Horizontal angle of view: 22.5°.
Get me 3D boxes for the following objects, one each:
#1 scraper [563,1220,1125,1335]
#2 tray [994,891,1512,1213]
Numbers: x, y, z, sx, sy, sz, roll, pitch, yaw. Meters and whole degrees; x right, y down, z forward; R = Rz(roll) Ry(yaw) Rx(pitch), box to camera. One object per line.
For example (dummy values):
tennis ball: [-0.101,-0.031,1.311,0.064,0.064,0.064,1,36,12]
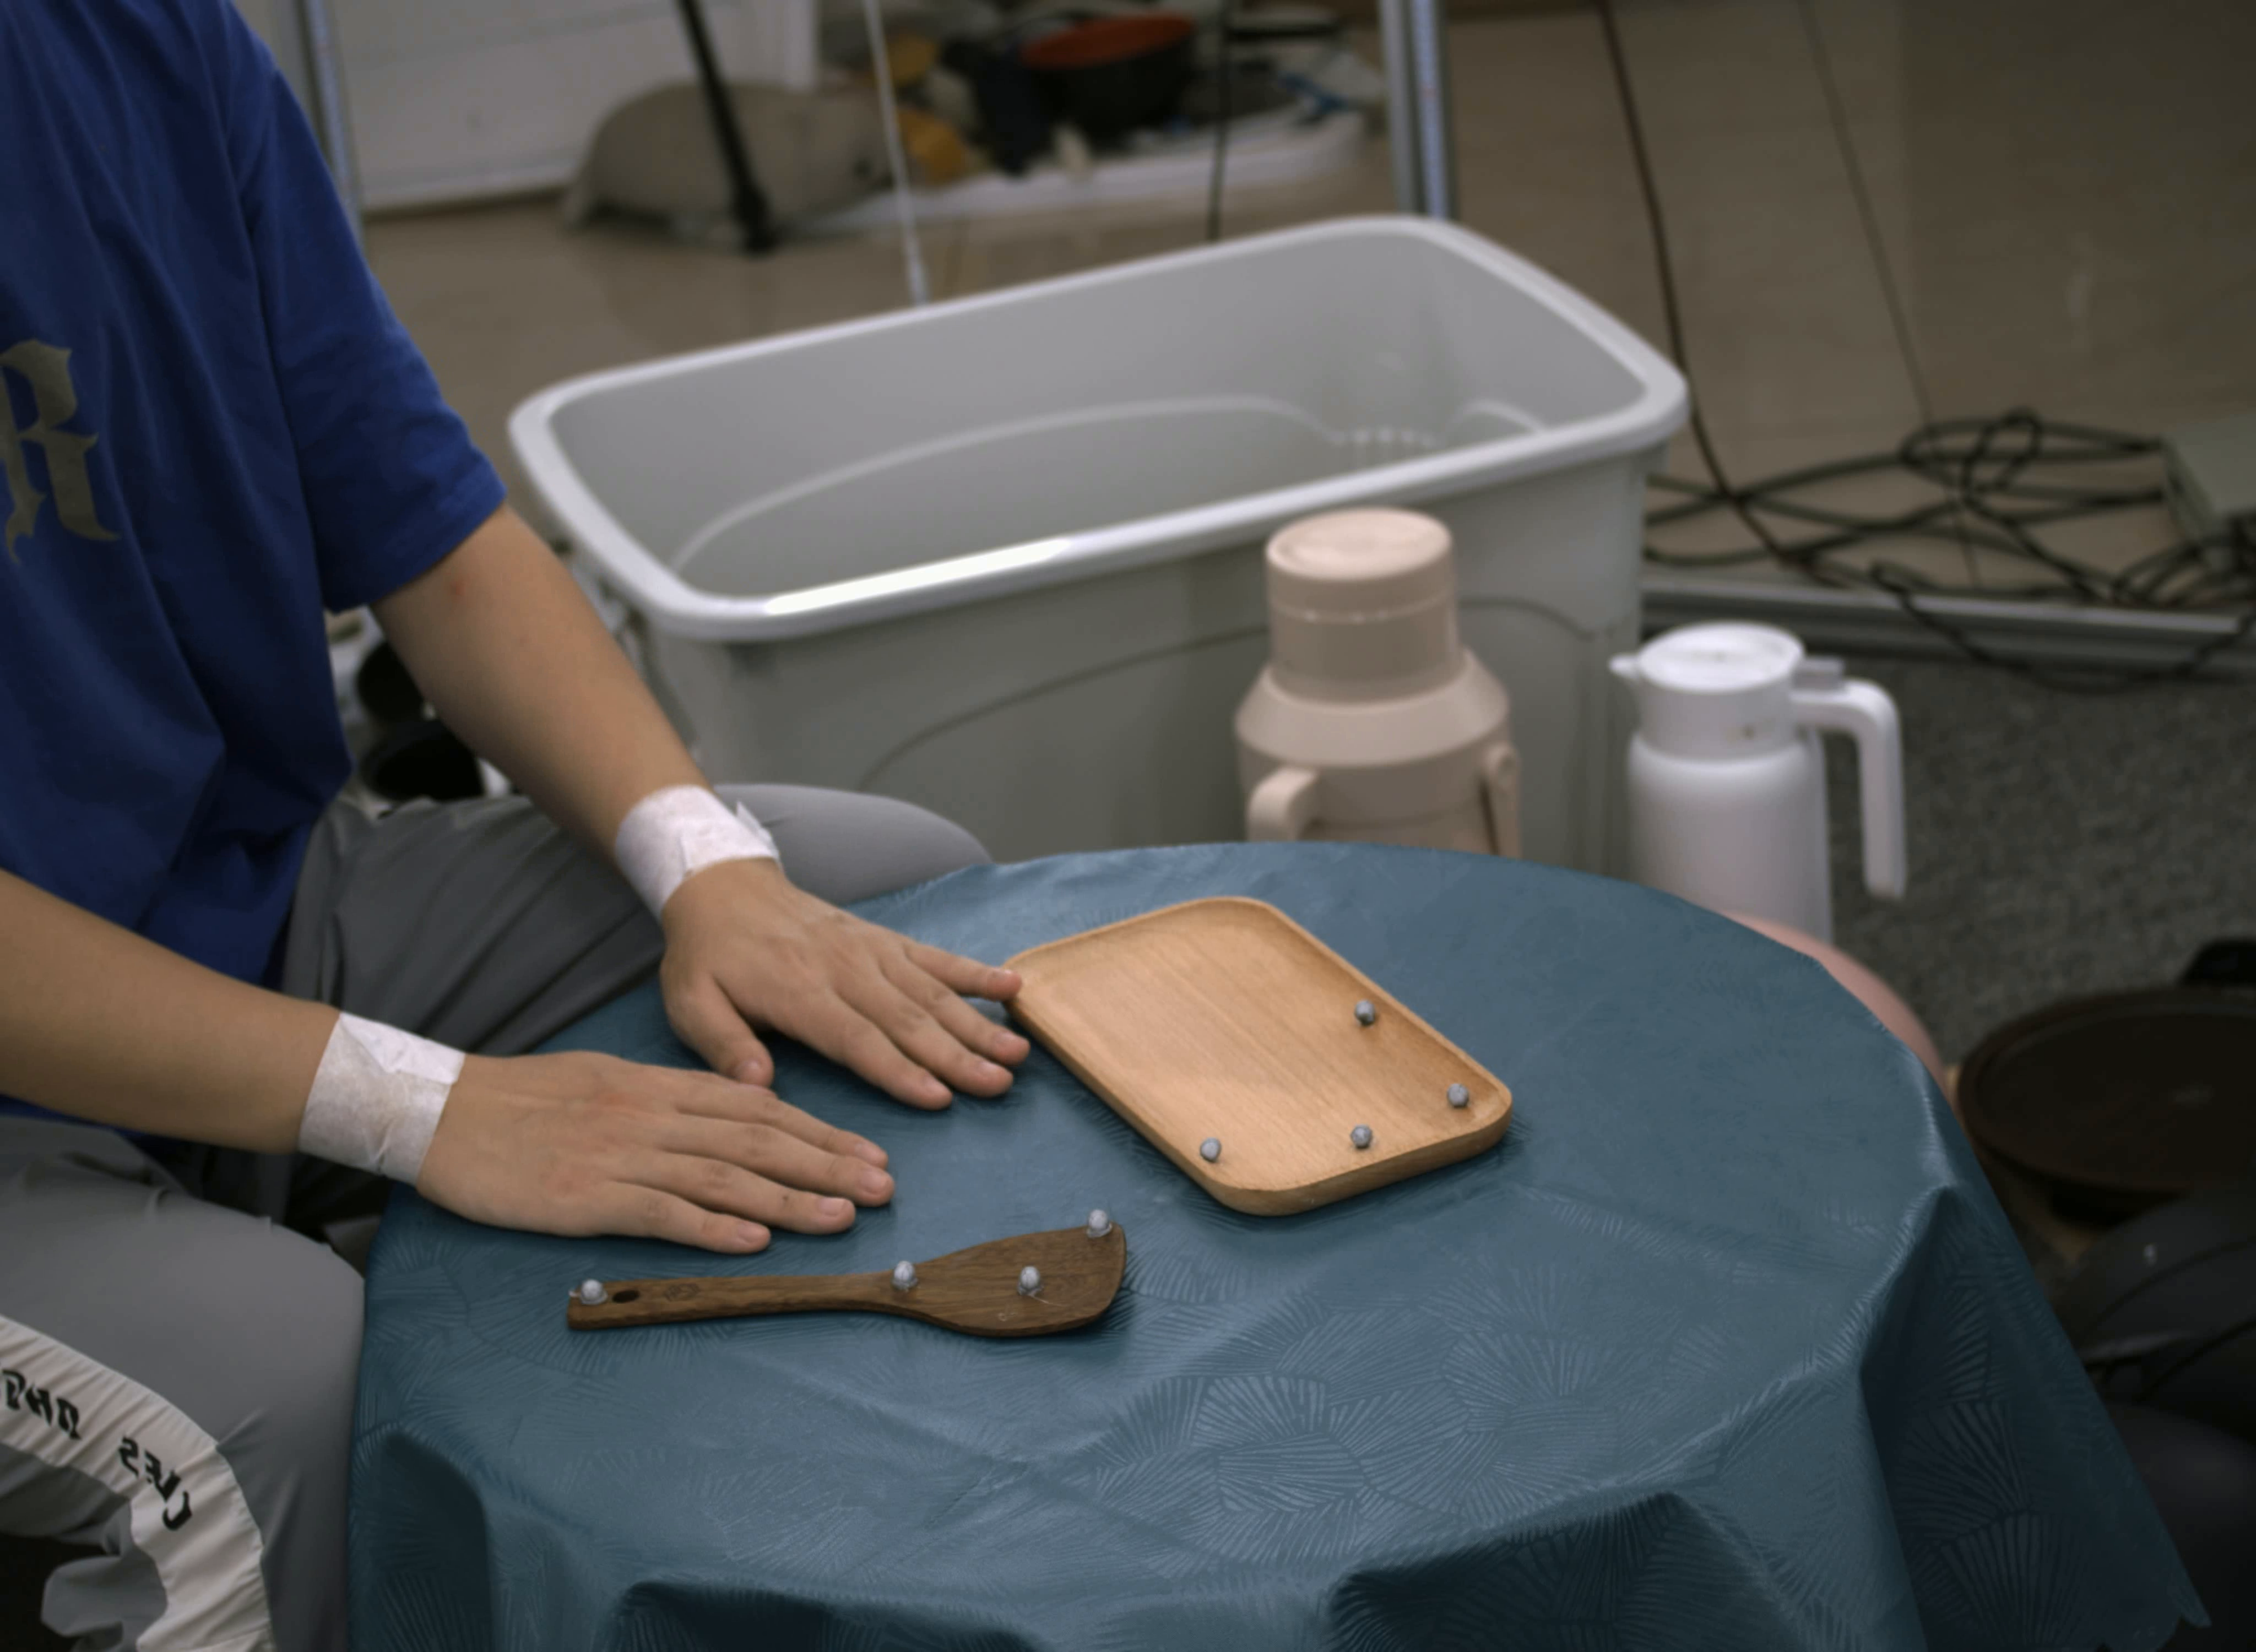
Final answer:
scraper: [-0.105,0.171,2.093,0.211,0.011,0.075,-4,24,8]
tray: [0.046,0.087,2.227,0.130,0.023,0.248,-14,25,-20]
